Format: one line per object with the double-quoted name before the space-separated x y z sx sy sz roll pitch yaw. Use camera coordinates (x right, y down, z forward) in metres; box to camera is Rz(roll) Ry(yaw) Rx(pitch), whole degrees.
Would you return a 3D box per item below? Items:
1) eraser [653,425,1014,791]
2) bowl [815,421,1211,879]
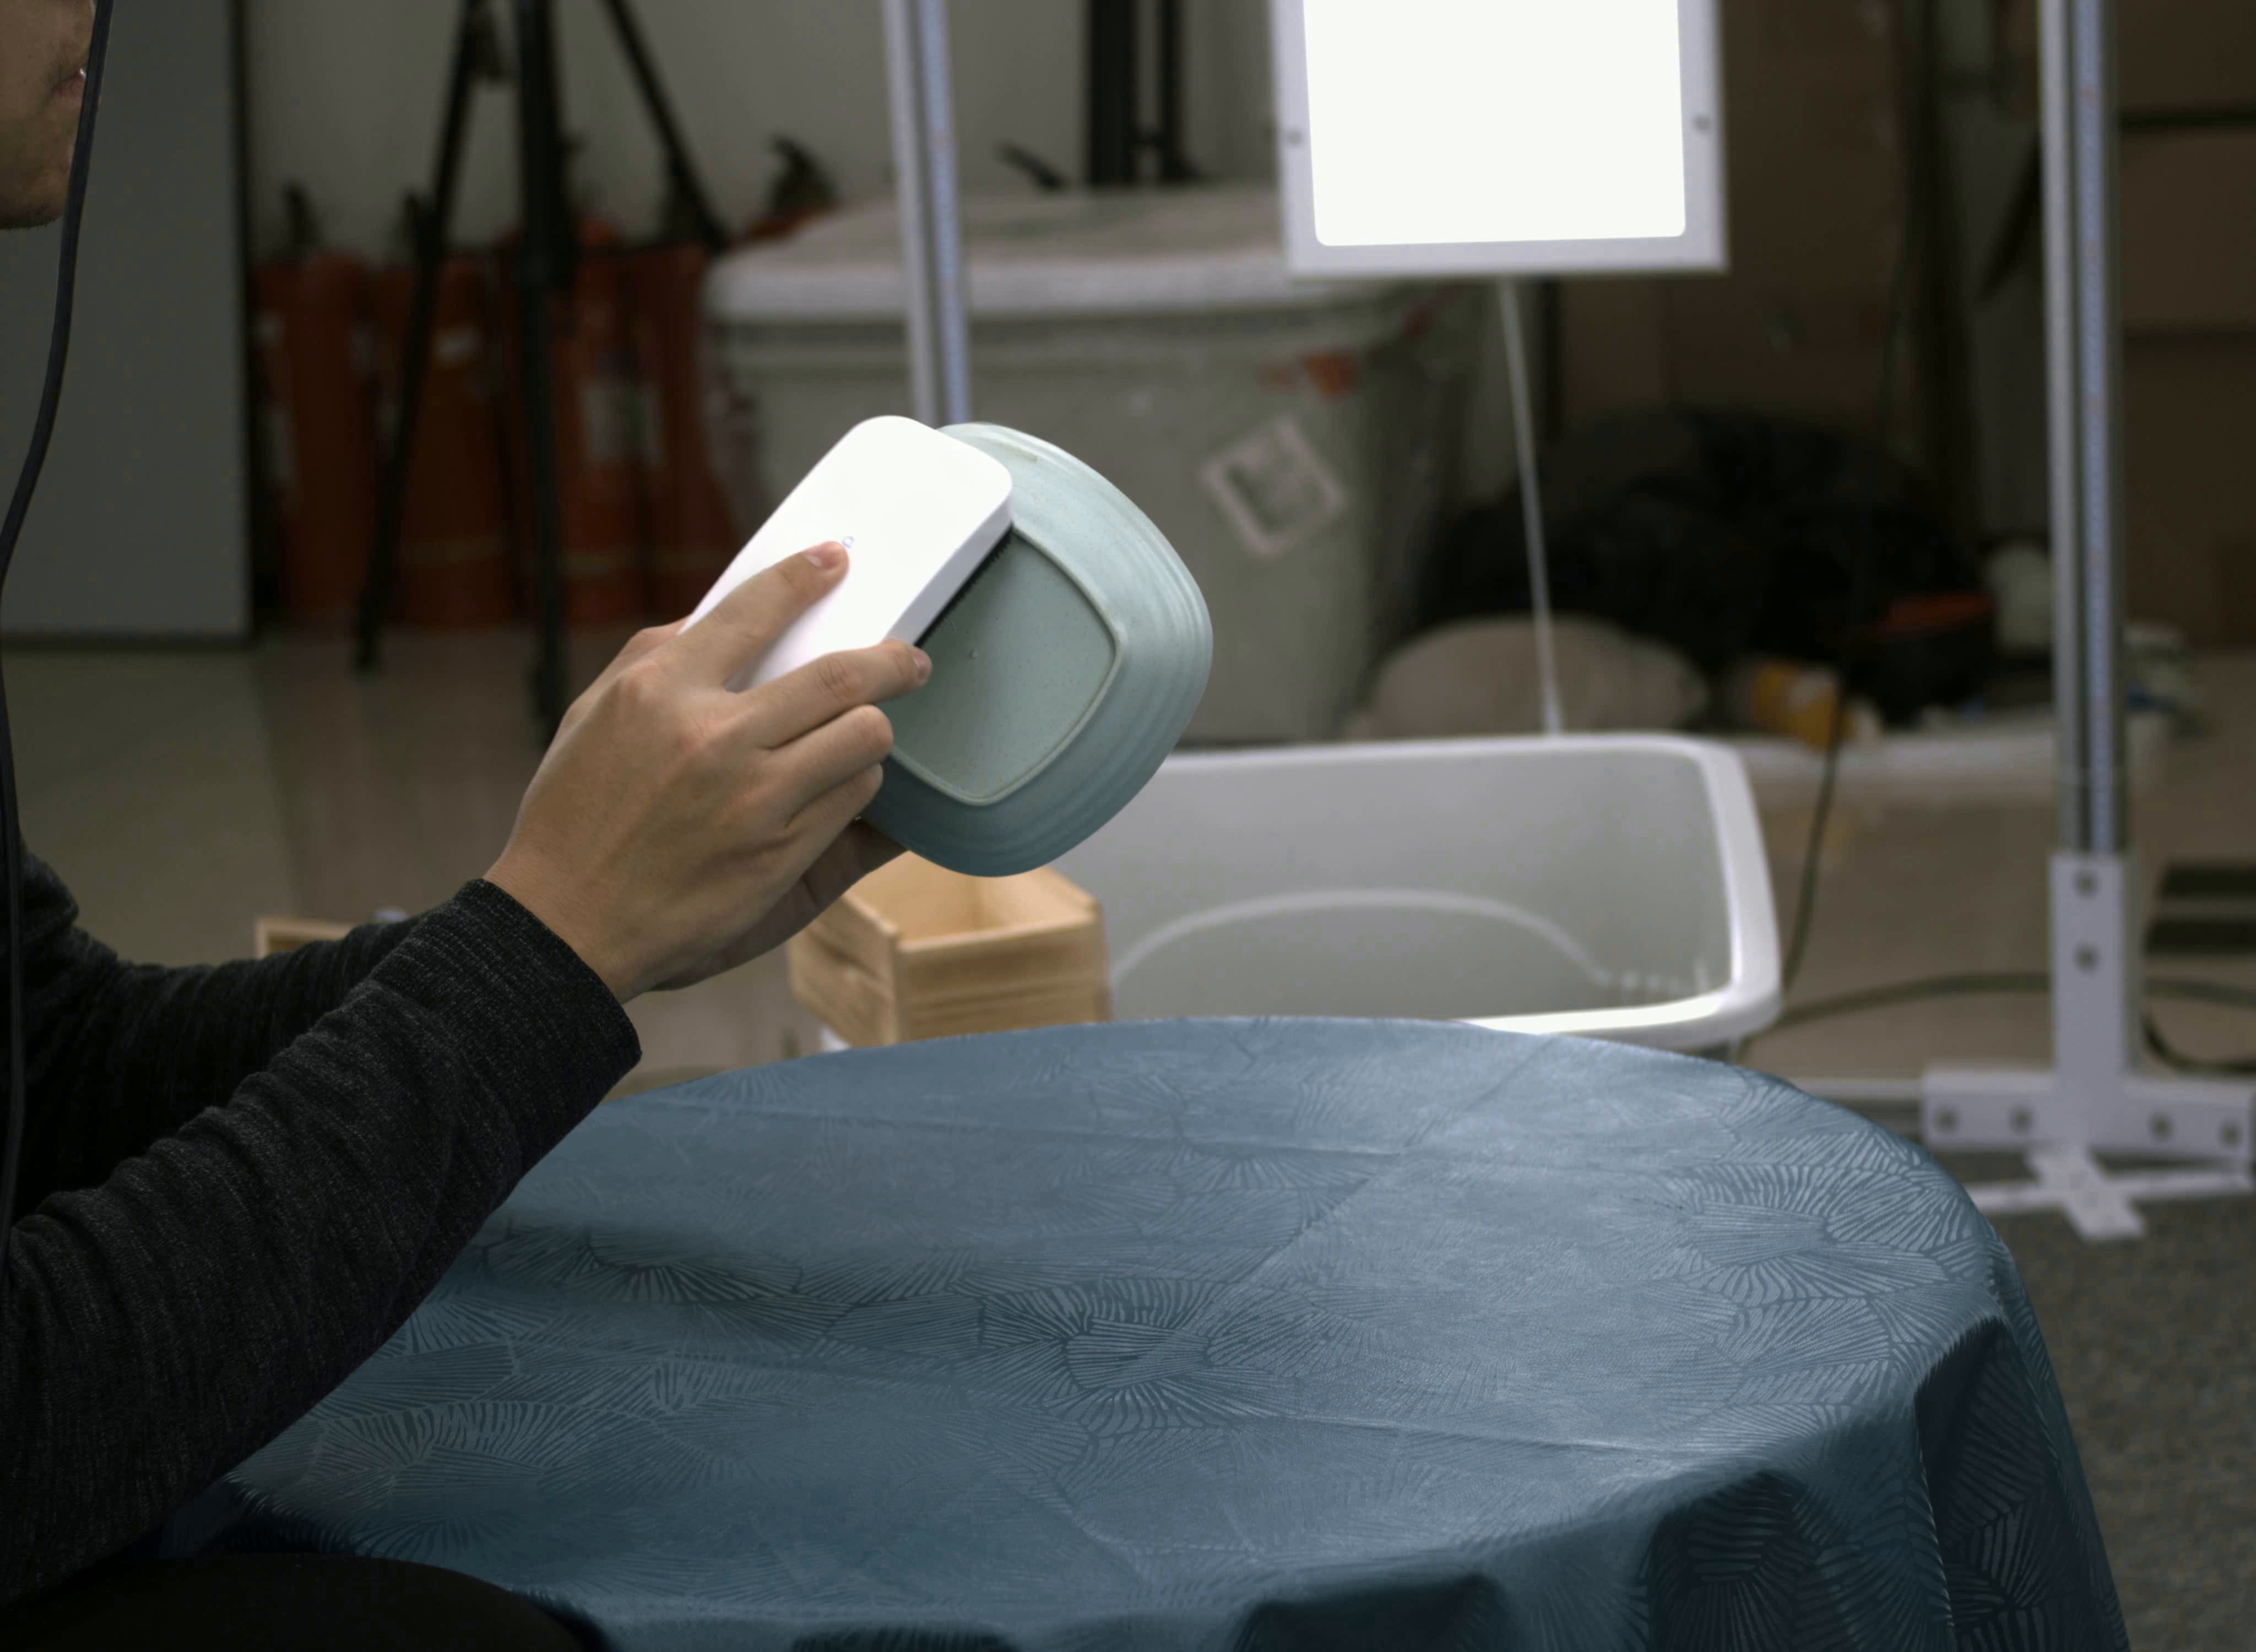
"eraser" -0.092 -0.071 1.736 0.064 0.034 0.129 27 65 28
"bowl" -0.049 -0.056 1.796 0.152 0.152 0.058 -3 5 7
